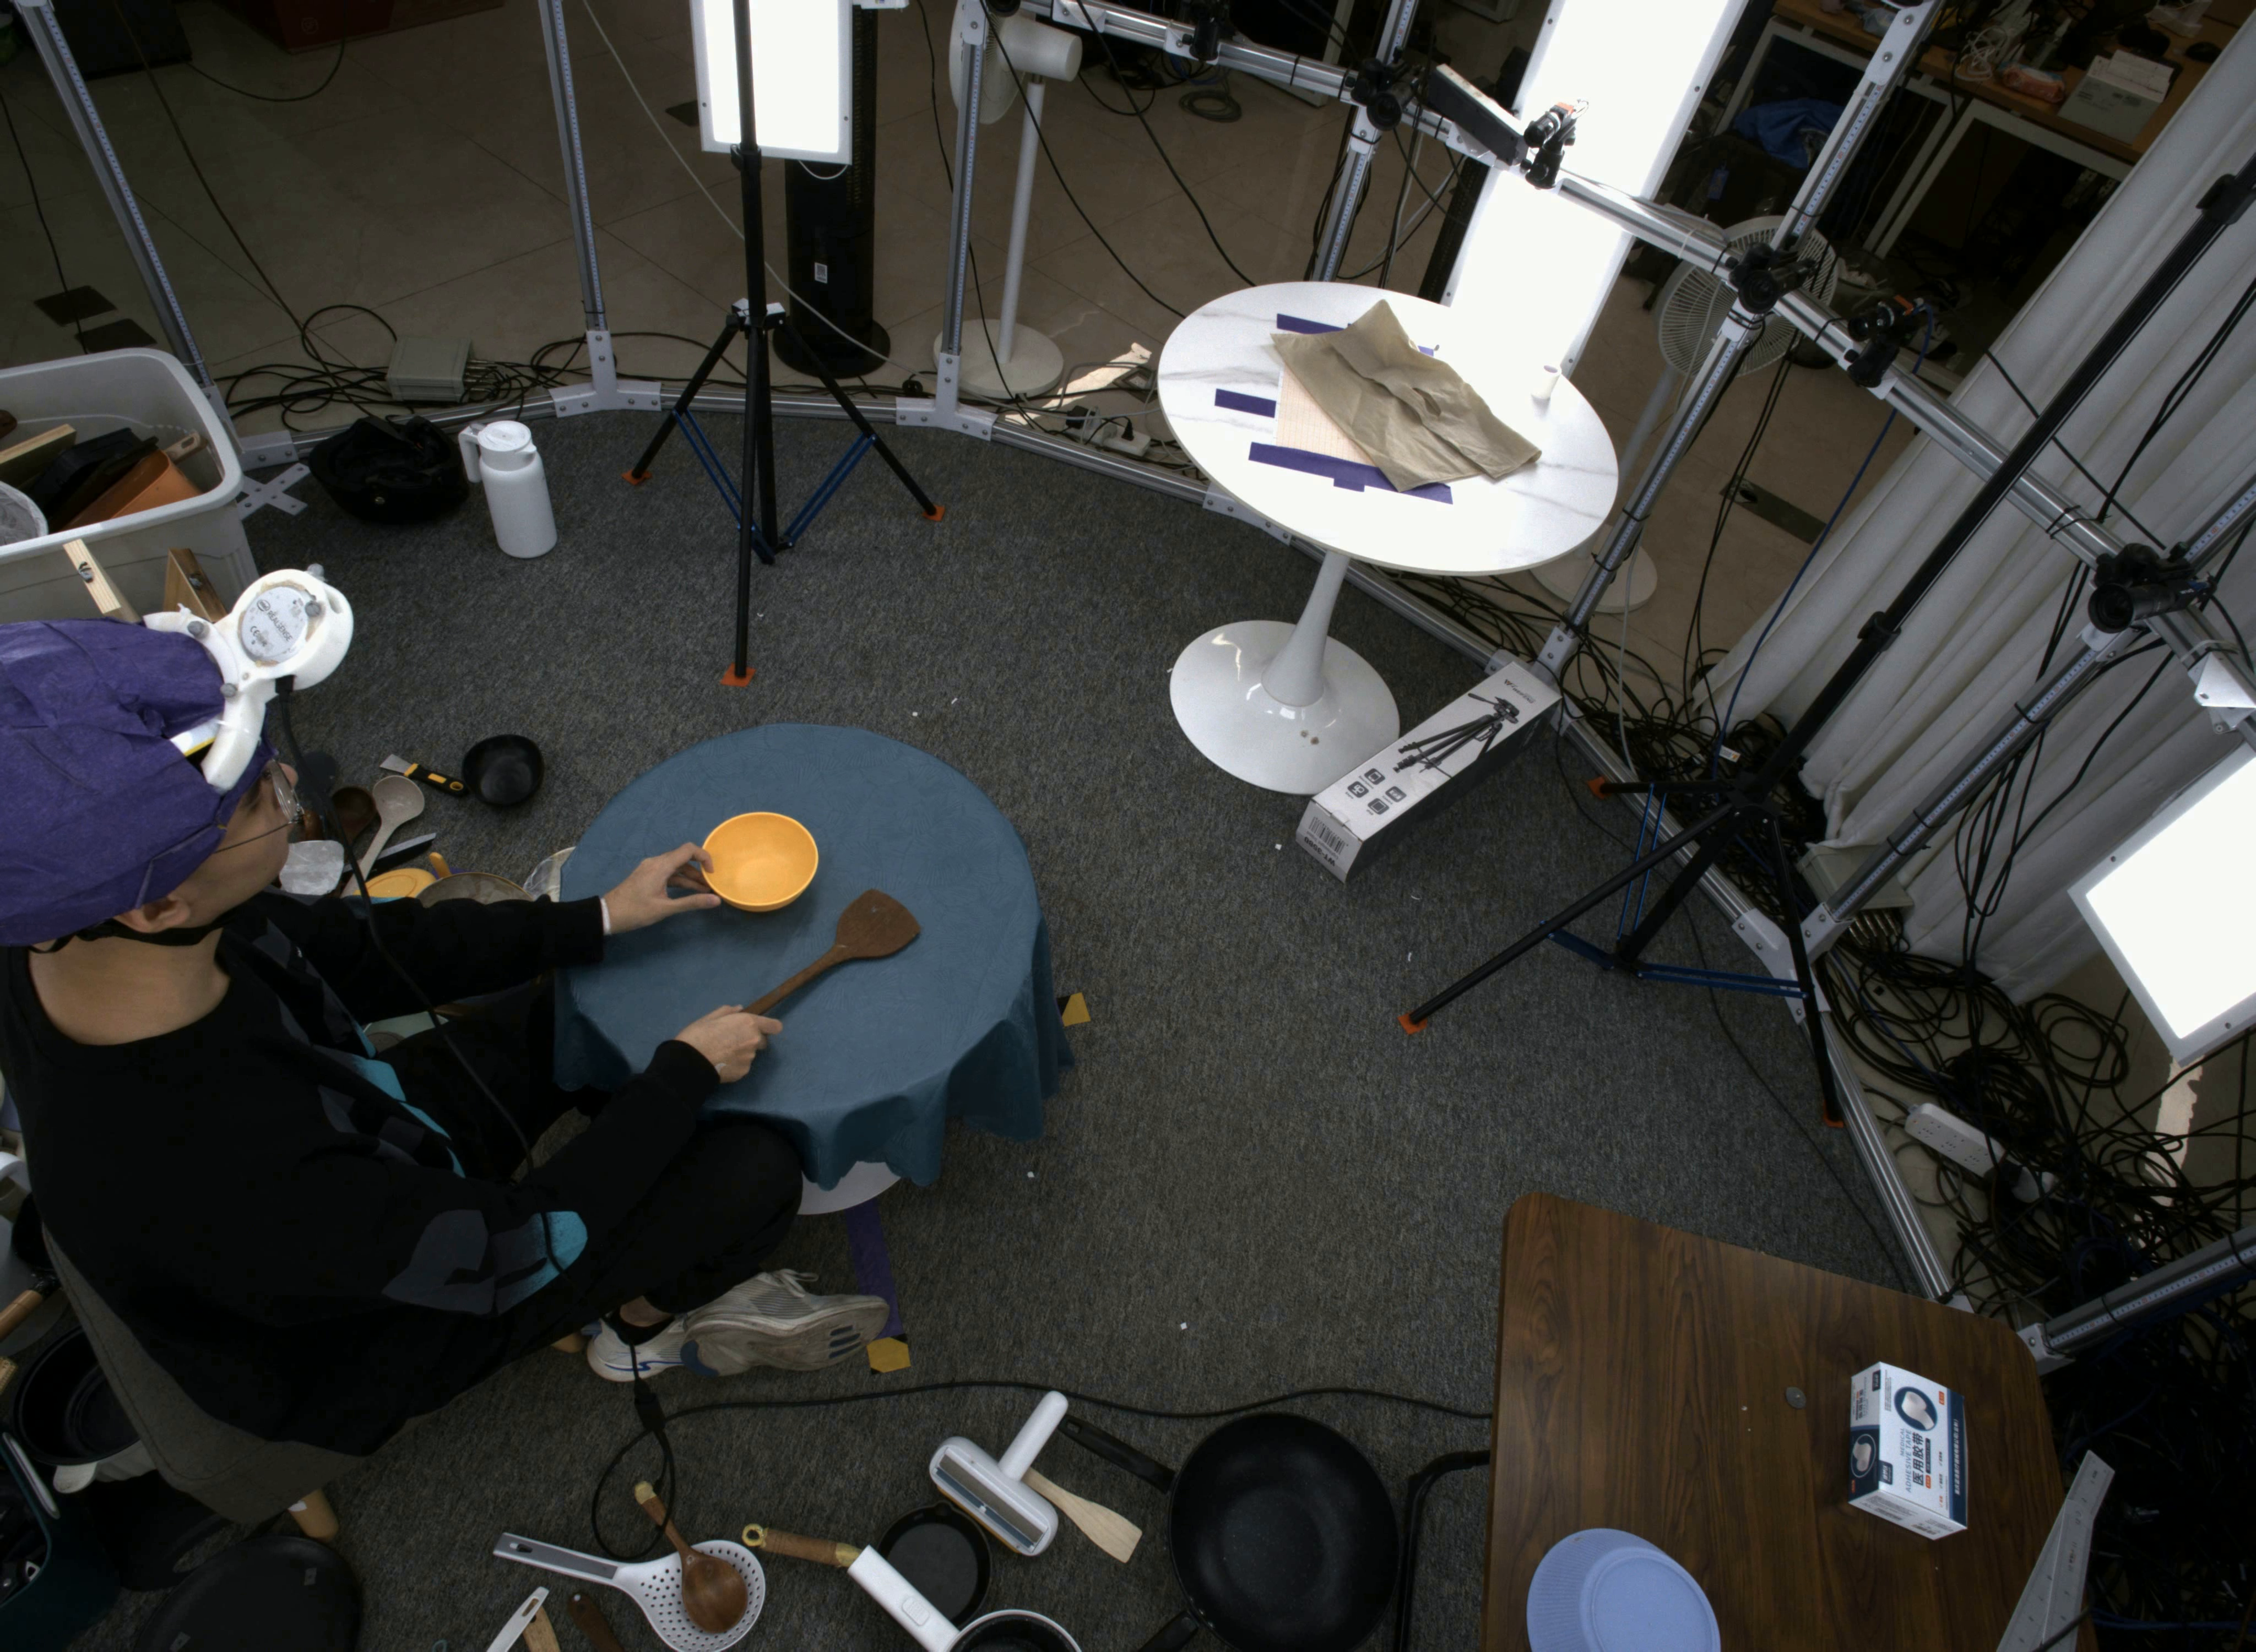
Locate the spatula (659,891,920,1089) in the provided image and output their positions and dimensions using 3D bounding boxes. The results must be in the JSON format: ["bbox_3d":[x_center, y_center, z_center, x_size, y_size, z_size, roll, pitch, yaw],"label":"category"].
[{"bbox_3d":[-0.407,0.194,1.561,0.094,0.016,0.387,38,47,15],"label":"spatula"}]

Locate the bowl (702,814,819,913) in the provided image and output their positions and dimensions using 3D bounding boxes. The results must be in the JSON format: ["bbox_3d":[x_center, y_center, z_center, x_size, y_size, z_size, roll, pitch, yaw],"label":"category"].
[{"bbox_3d":[-0.463,0.057,1.641,0.145,0.061,0.143,6,52,-6],"label":"bowl"}]
